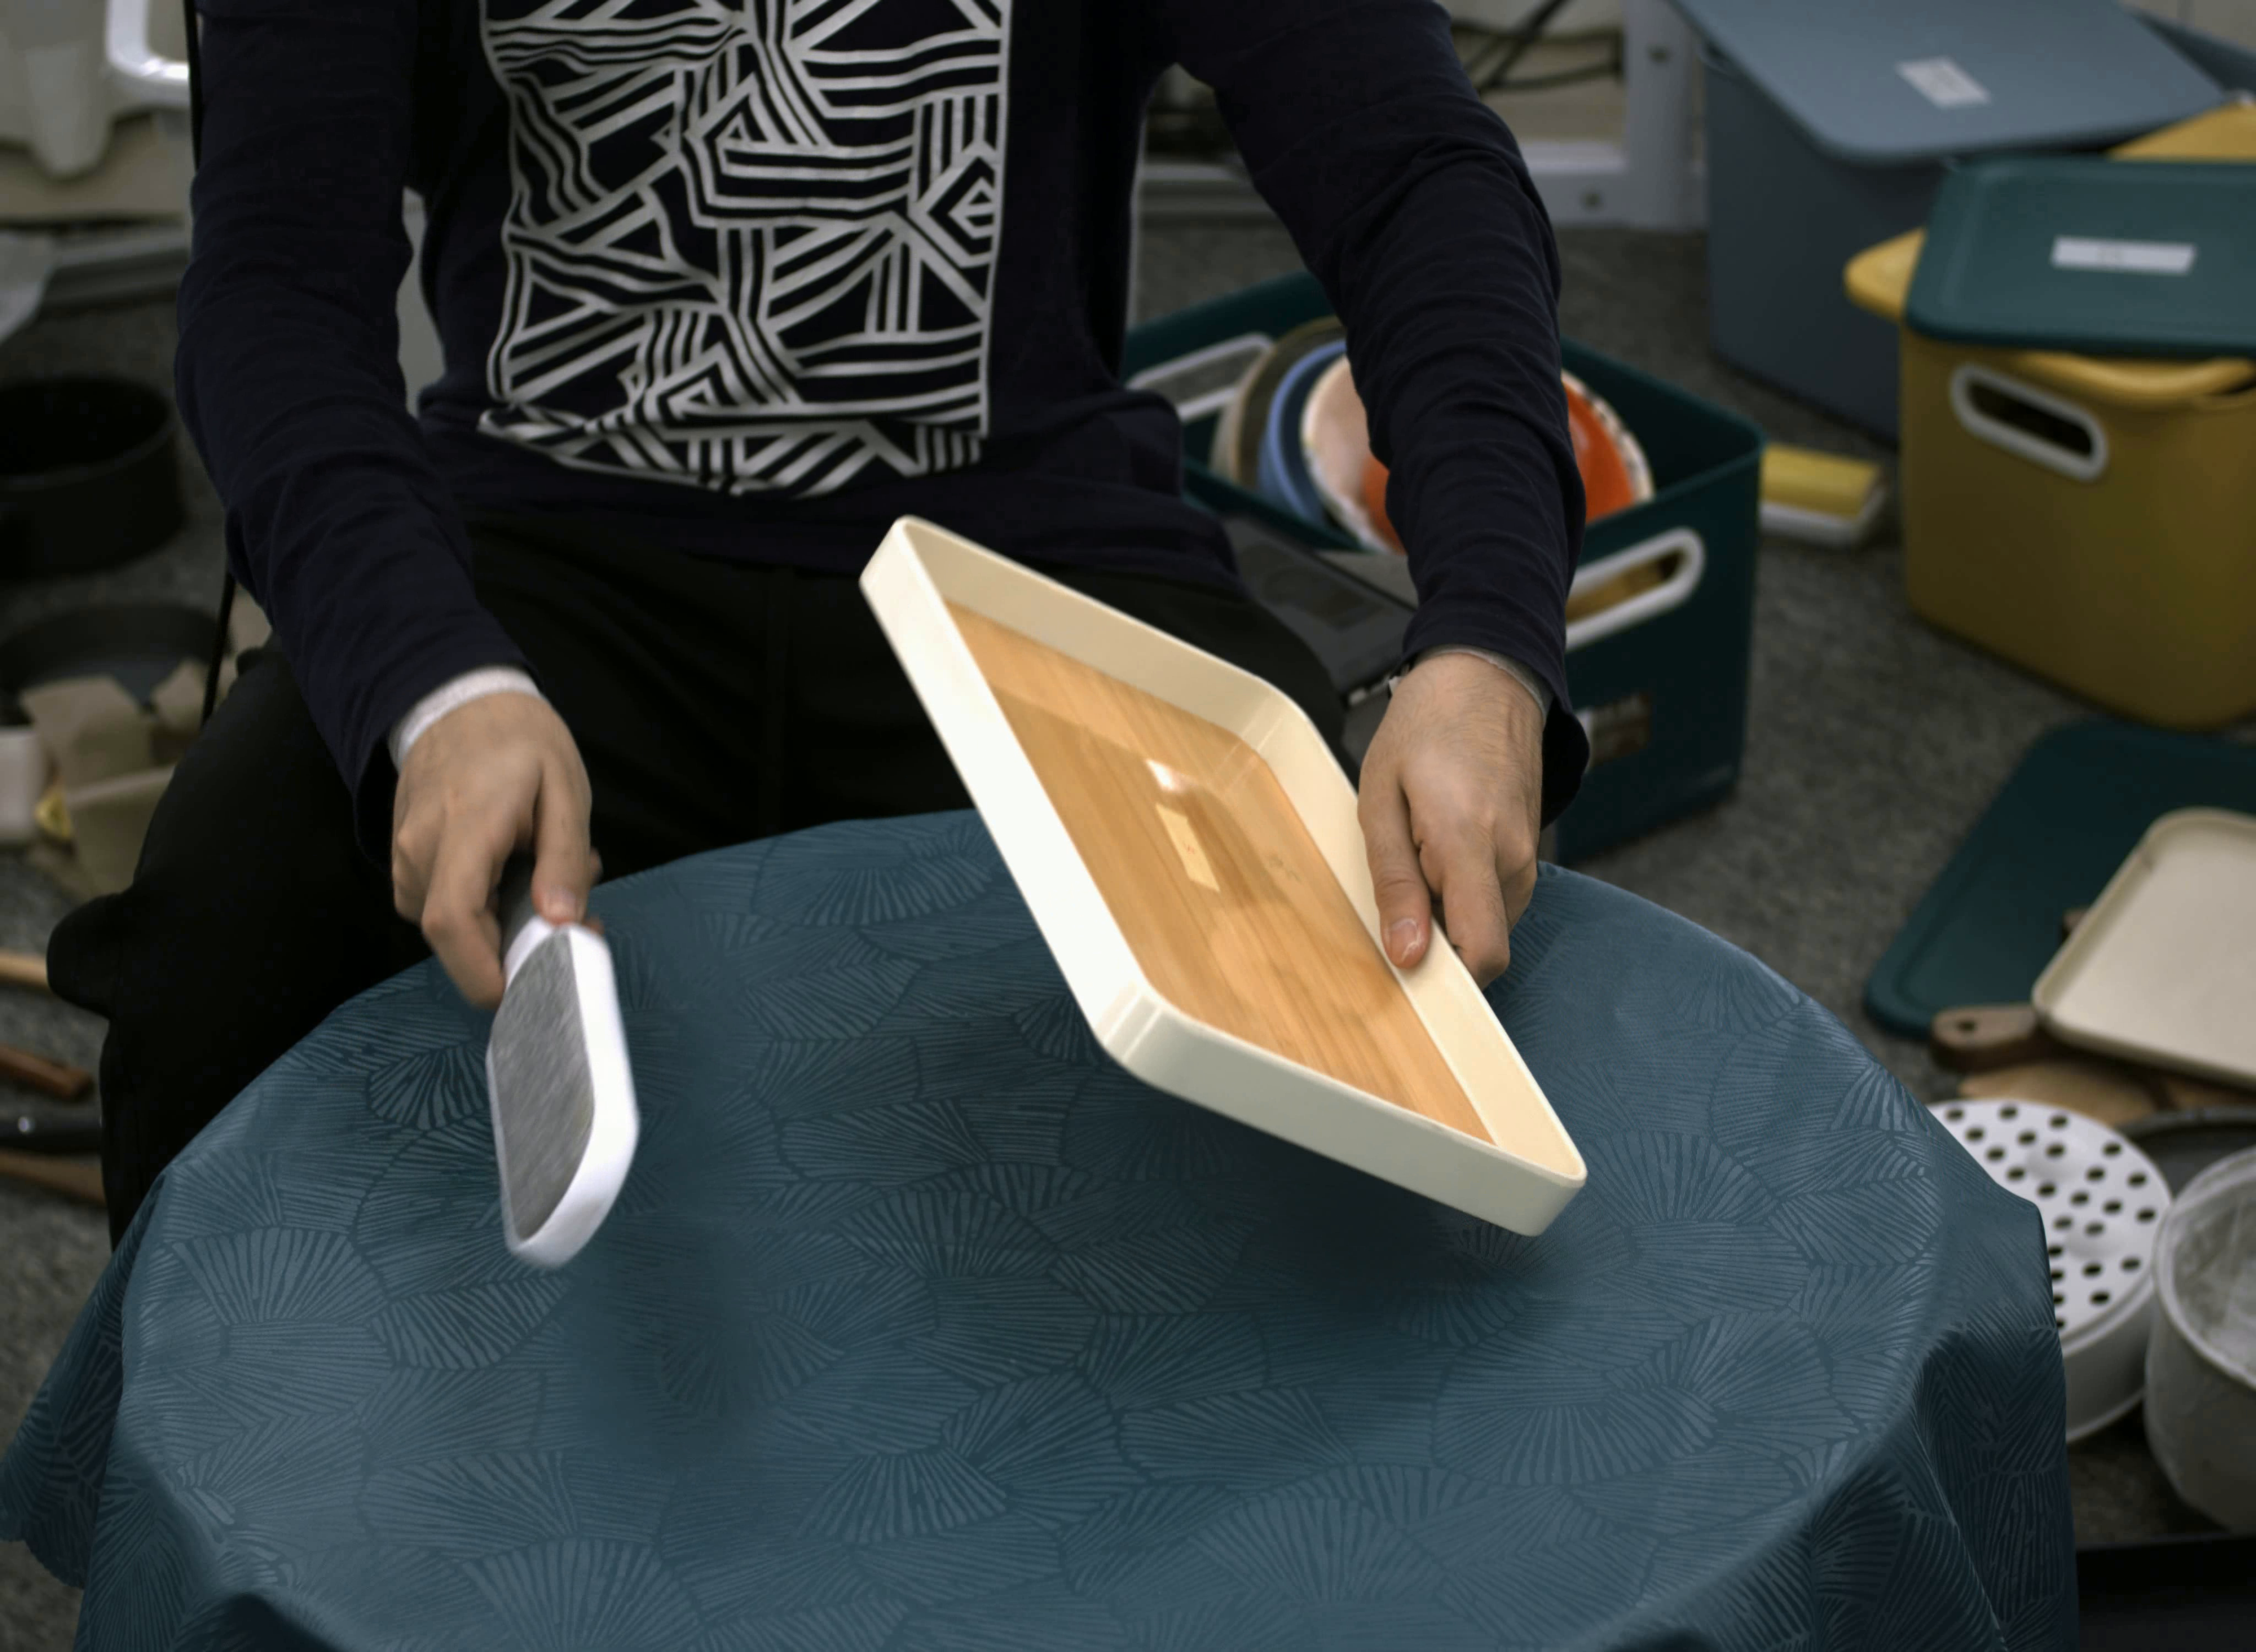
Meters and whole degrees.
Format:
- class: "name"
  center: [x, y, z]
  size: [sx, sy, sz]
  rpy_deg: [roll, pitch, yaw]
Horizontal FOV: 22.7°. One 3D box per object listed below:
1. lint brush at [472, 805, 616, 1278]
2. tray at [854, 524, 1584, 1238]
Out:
- class: "lint brush"
  center: [-0.194, 0.061, 1.831]
  size: [0.021, 0.059, 0.312]
  rpy_deg: [27, 16, -19]
- class: "tray"
  center: [0.025, 0.015, 1.861]
  size: [0.191, 0.027, 0.304]
  rpy_deg: [25, 21, -32]
